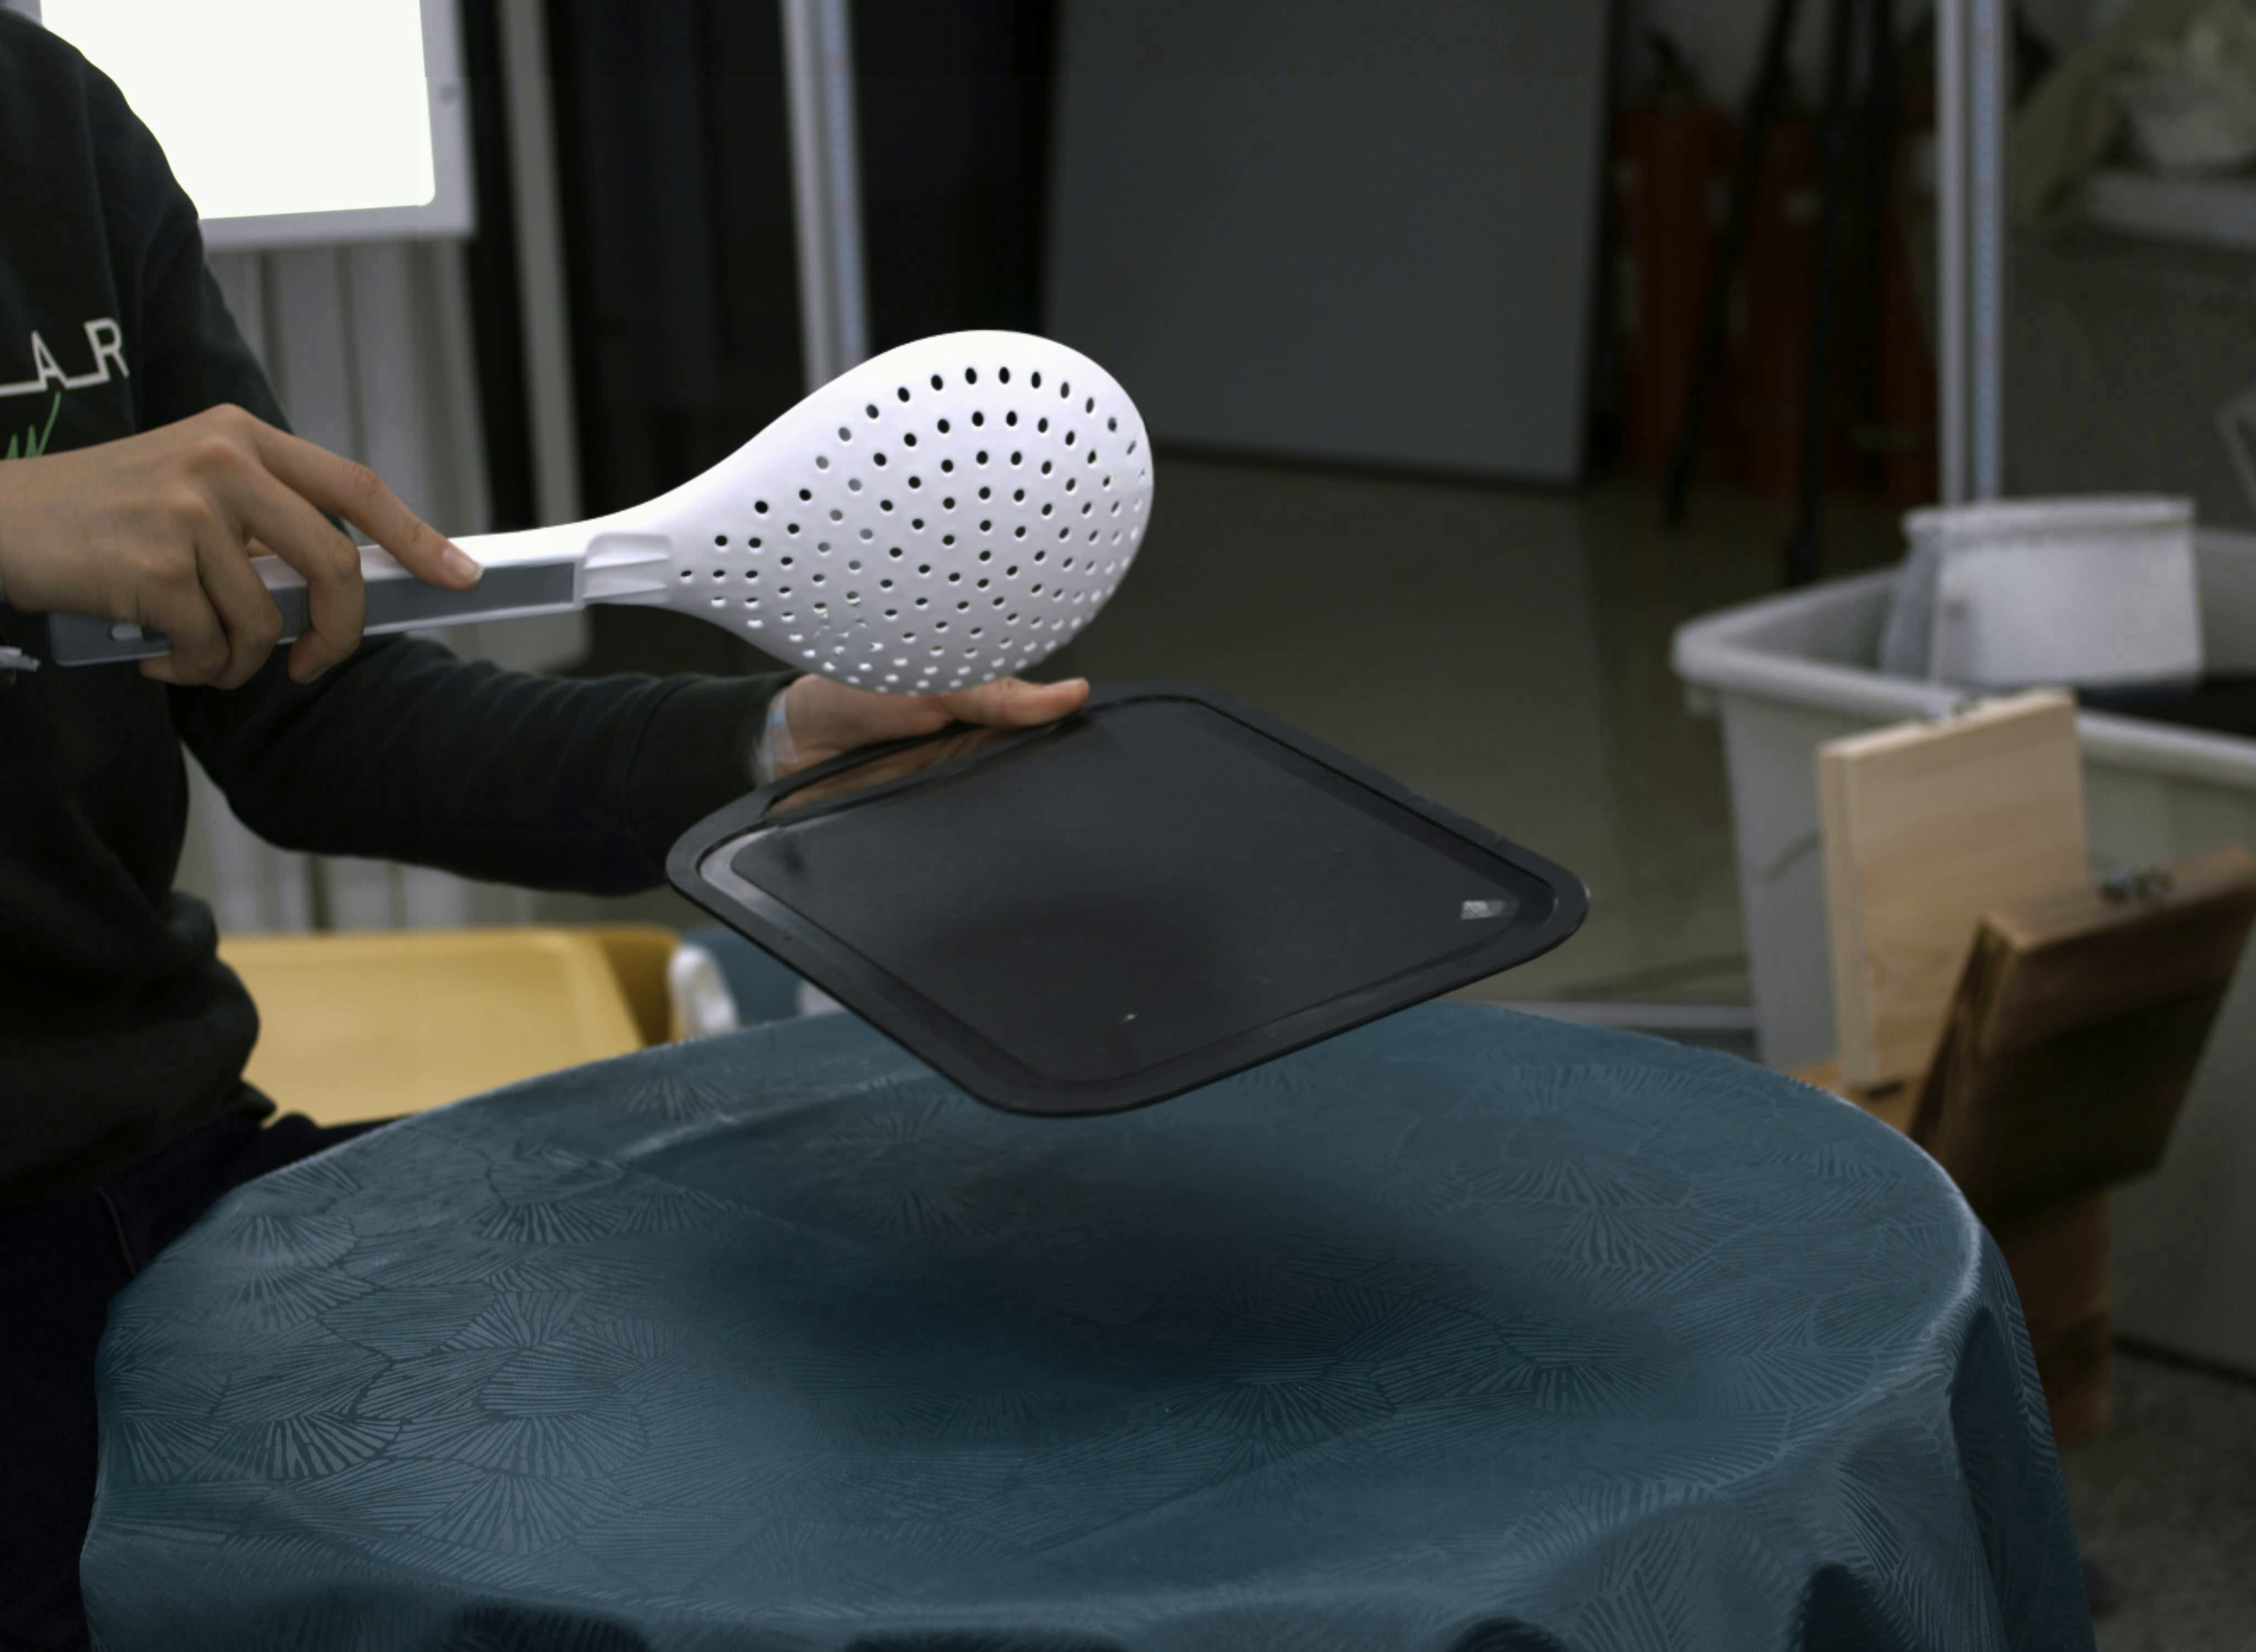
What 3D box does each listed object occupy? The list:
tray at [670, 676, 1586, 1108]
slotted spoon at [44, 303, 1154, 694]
[{"bbox_3d":[-0.011,0.012,1.703,0.207,0.010,0.329,-20,24,-21],"label":"tray"},{"bbox_3d":[-0.155,-0.084,1.651,0.343,0.137,0.046,-4,33,-12],"label":"slotted spoon"}]
